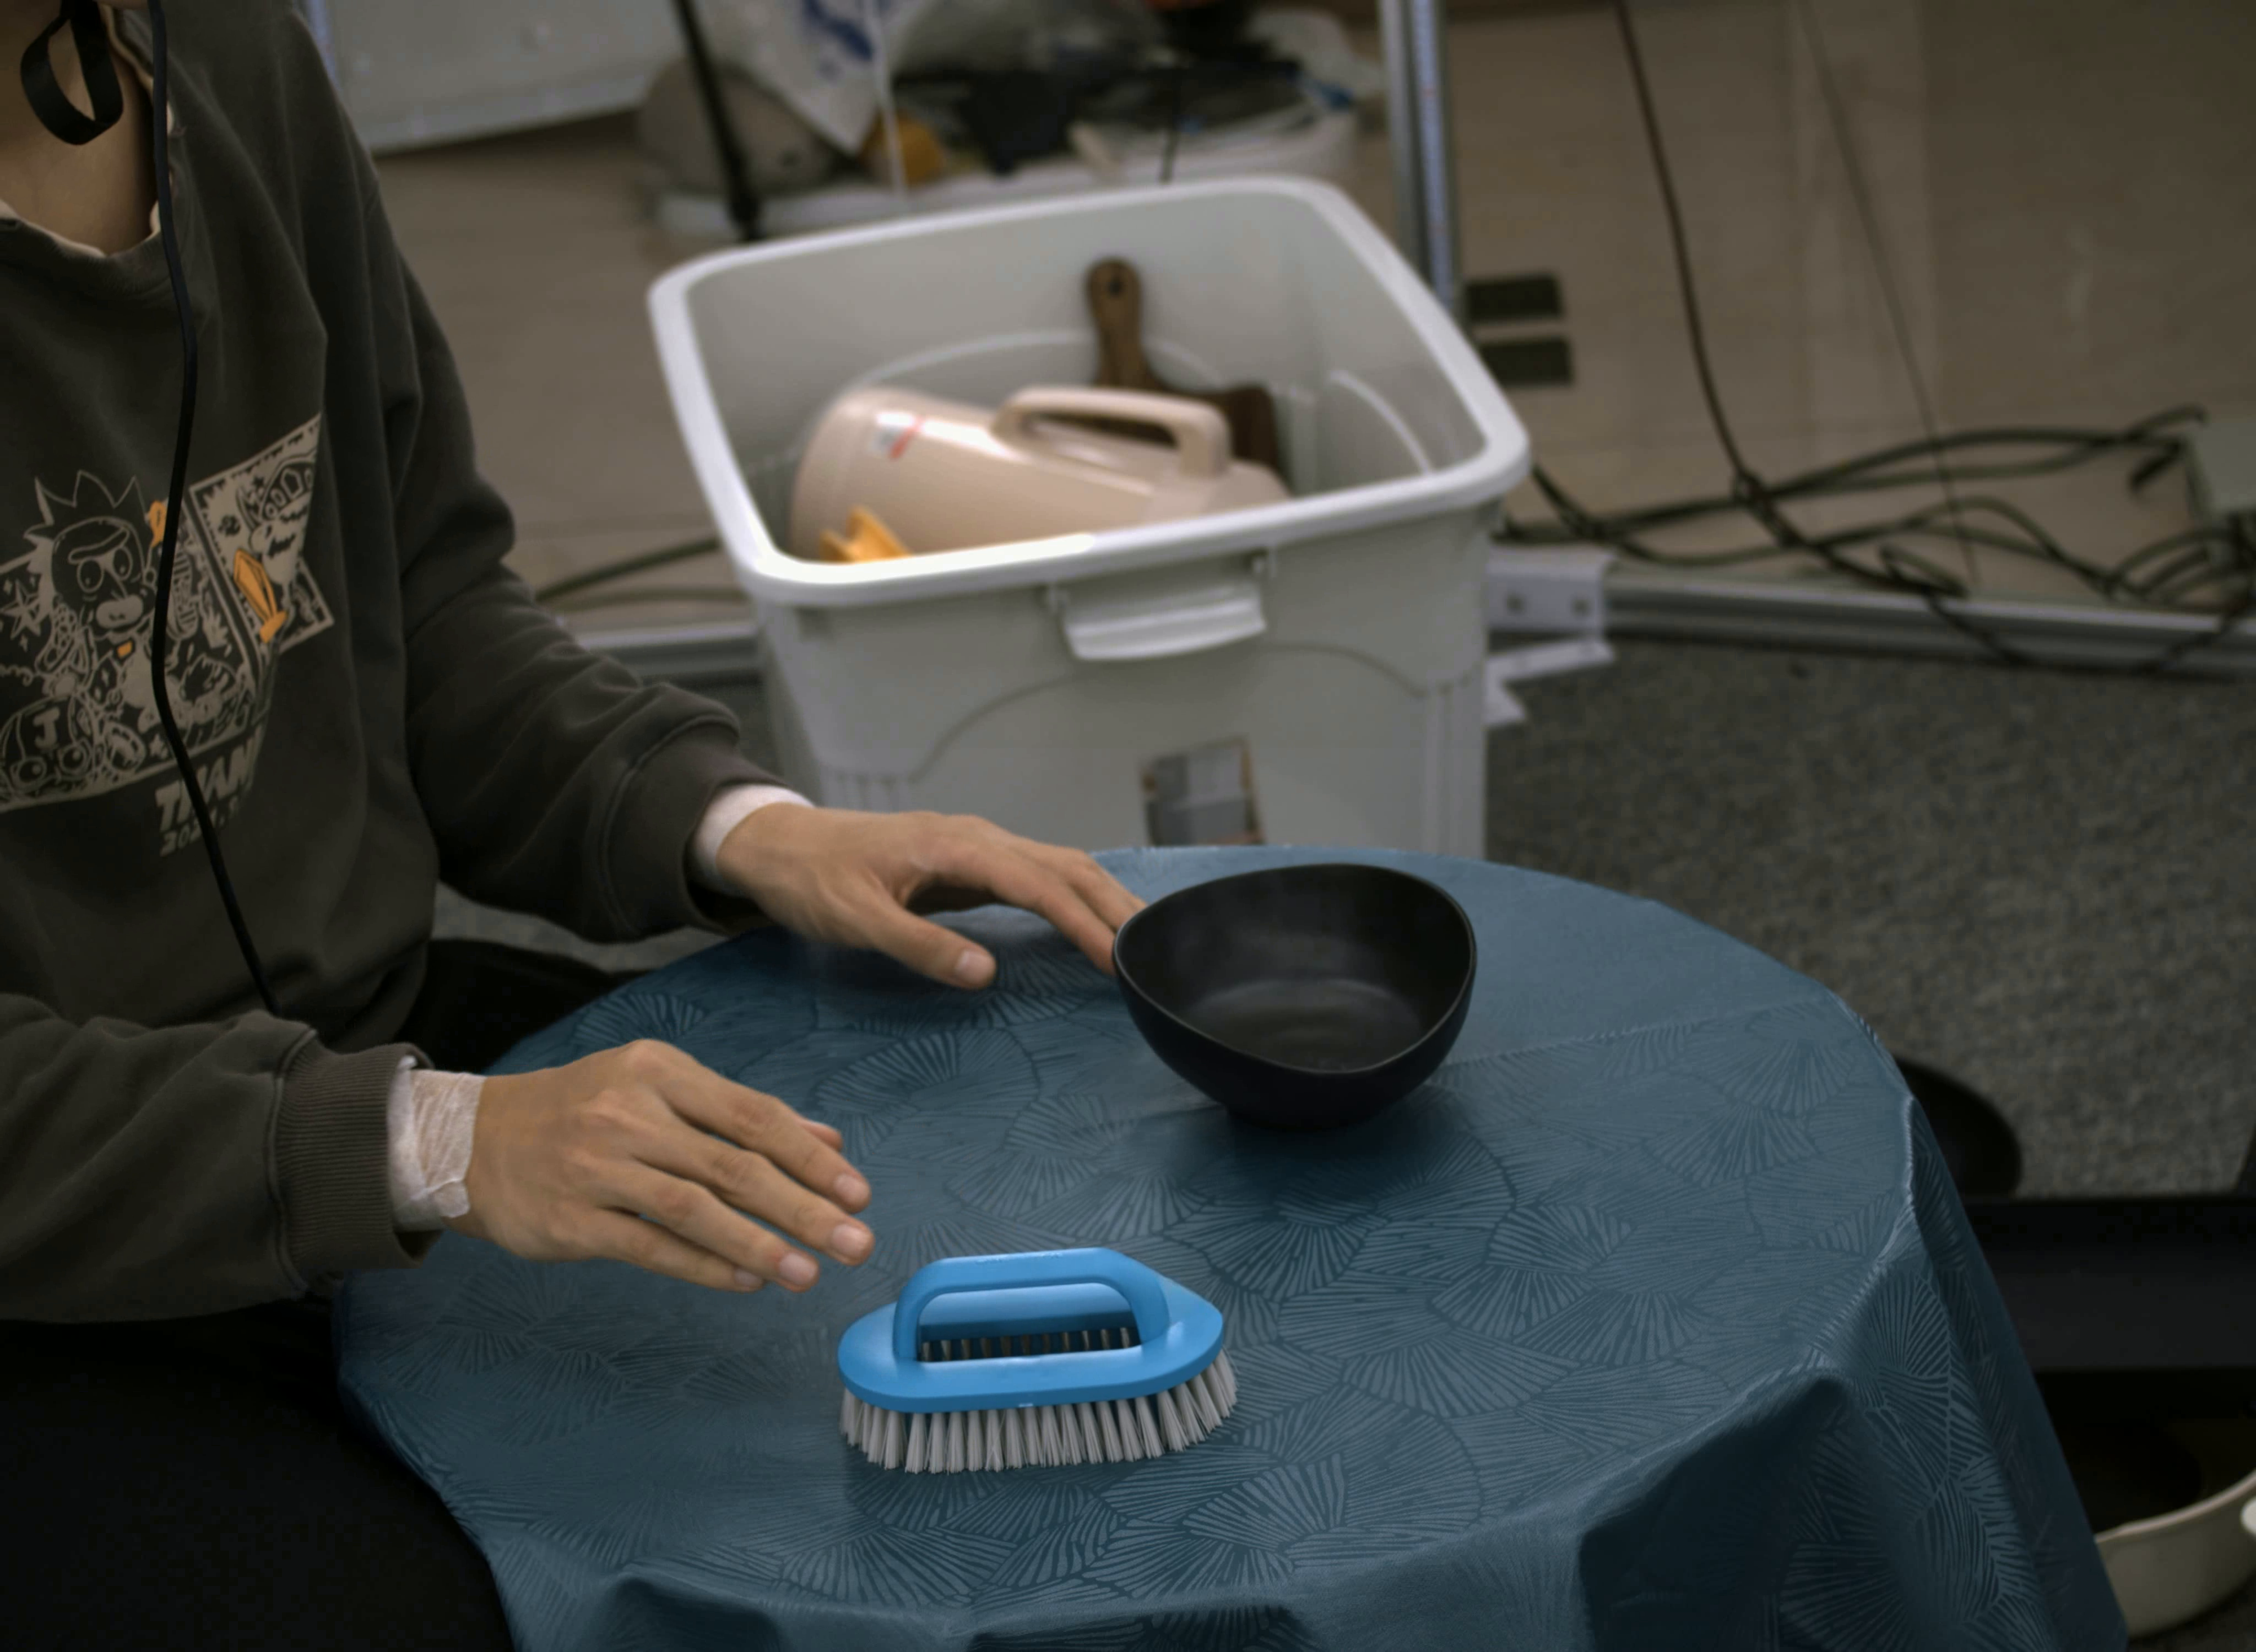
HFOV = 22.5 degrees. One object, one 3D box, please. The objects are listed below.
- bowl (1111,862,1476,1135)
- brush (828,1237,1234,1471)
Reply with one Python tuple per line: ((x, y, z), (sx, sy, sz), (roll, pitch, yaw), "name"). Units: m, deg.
((0.068, 0.074, 2.193), (0.137, 0.068, 0.168), (-14, 28, -15), "bowl")
((-0.036, 0.177, 1.996), (0.141, 0.065, 0.083), (-4, 30, 7), "brush")
